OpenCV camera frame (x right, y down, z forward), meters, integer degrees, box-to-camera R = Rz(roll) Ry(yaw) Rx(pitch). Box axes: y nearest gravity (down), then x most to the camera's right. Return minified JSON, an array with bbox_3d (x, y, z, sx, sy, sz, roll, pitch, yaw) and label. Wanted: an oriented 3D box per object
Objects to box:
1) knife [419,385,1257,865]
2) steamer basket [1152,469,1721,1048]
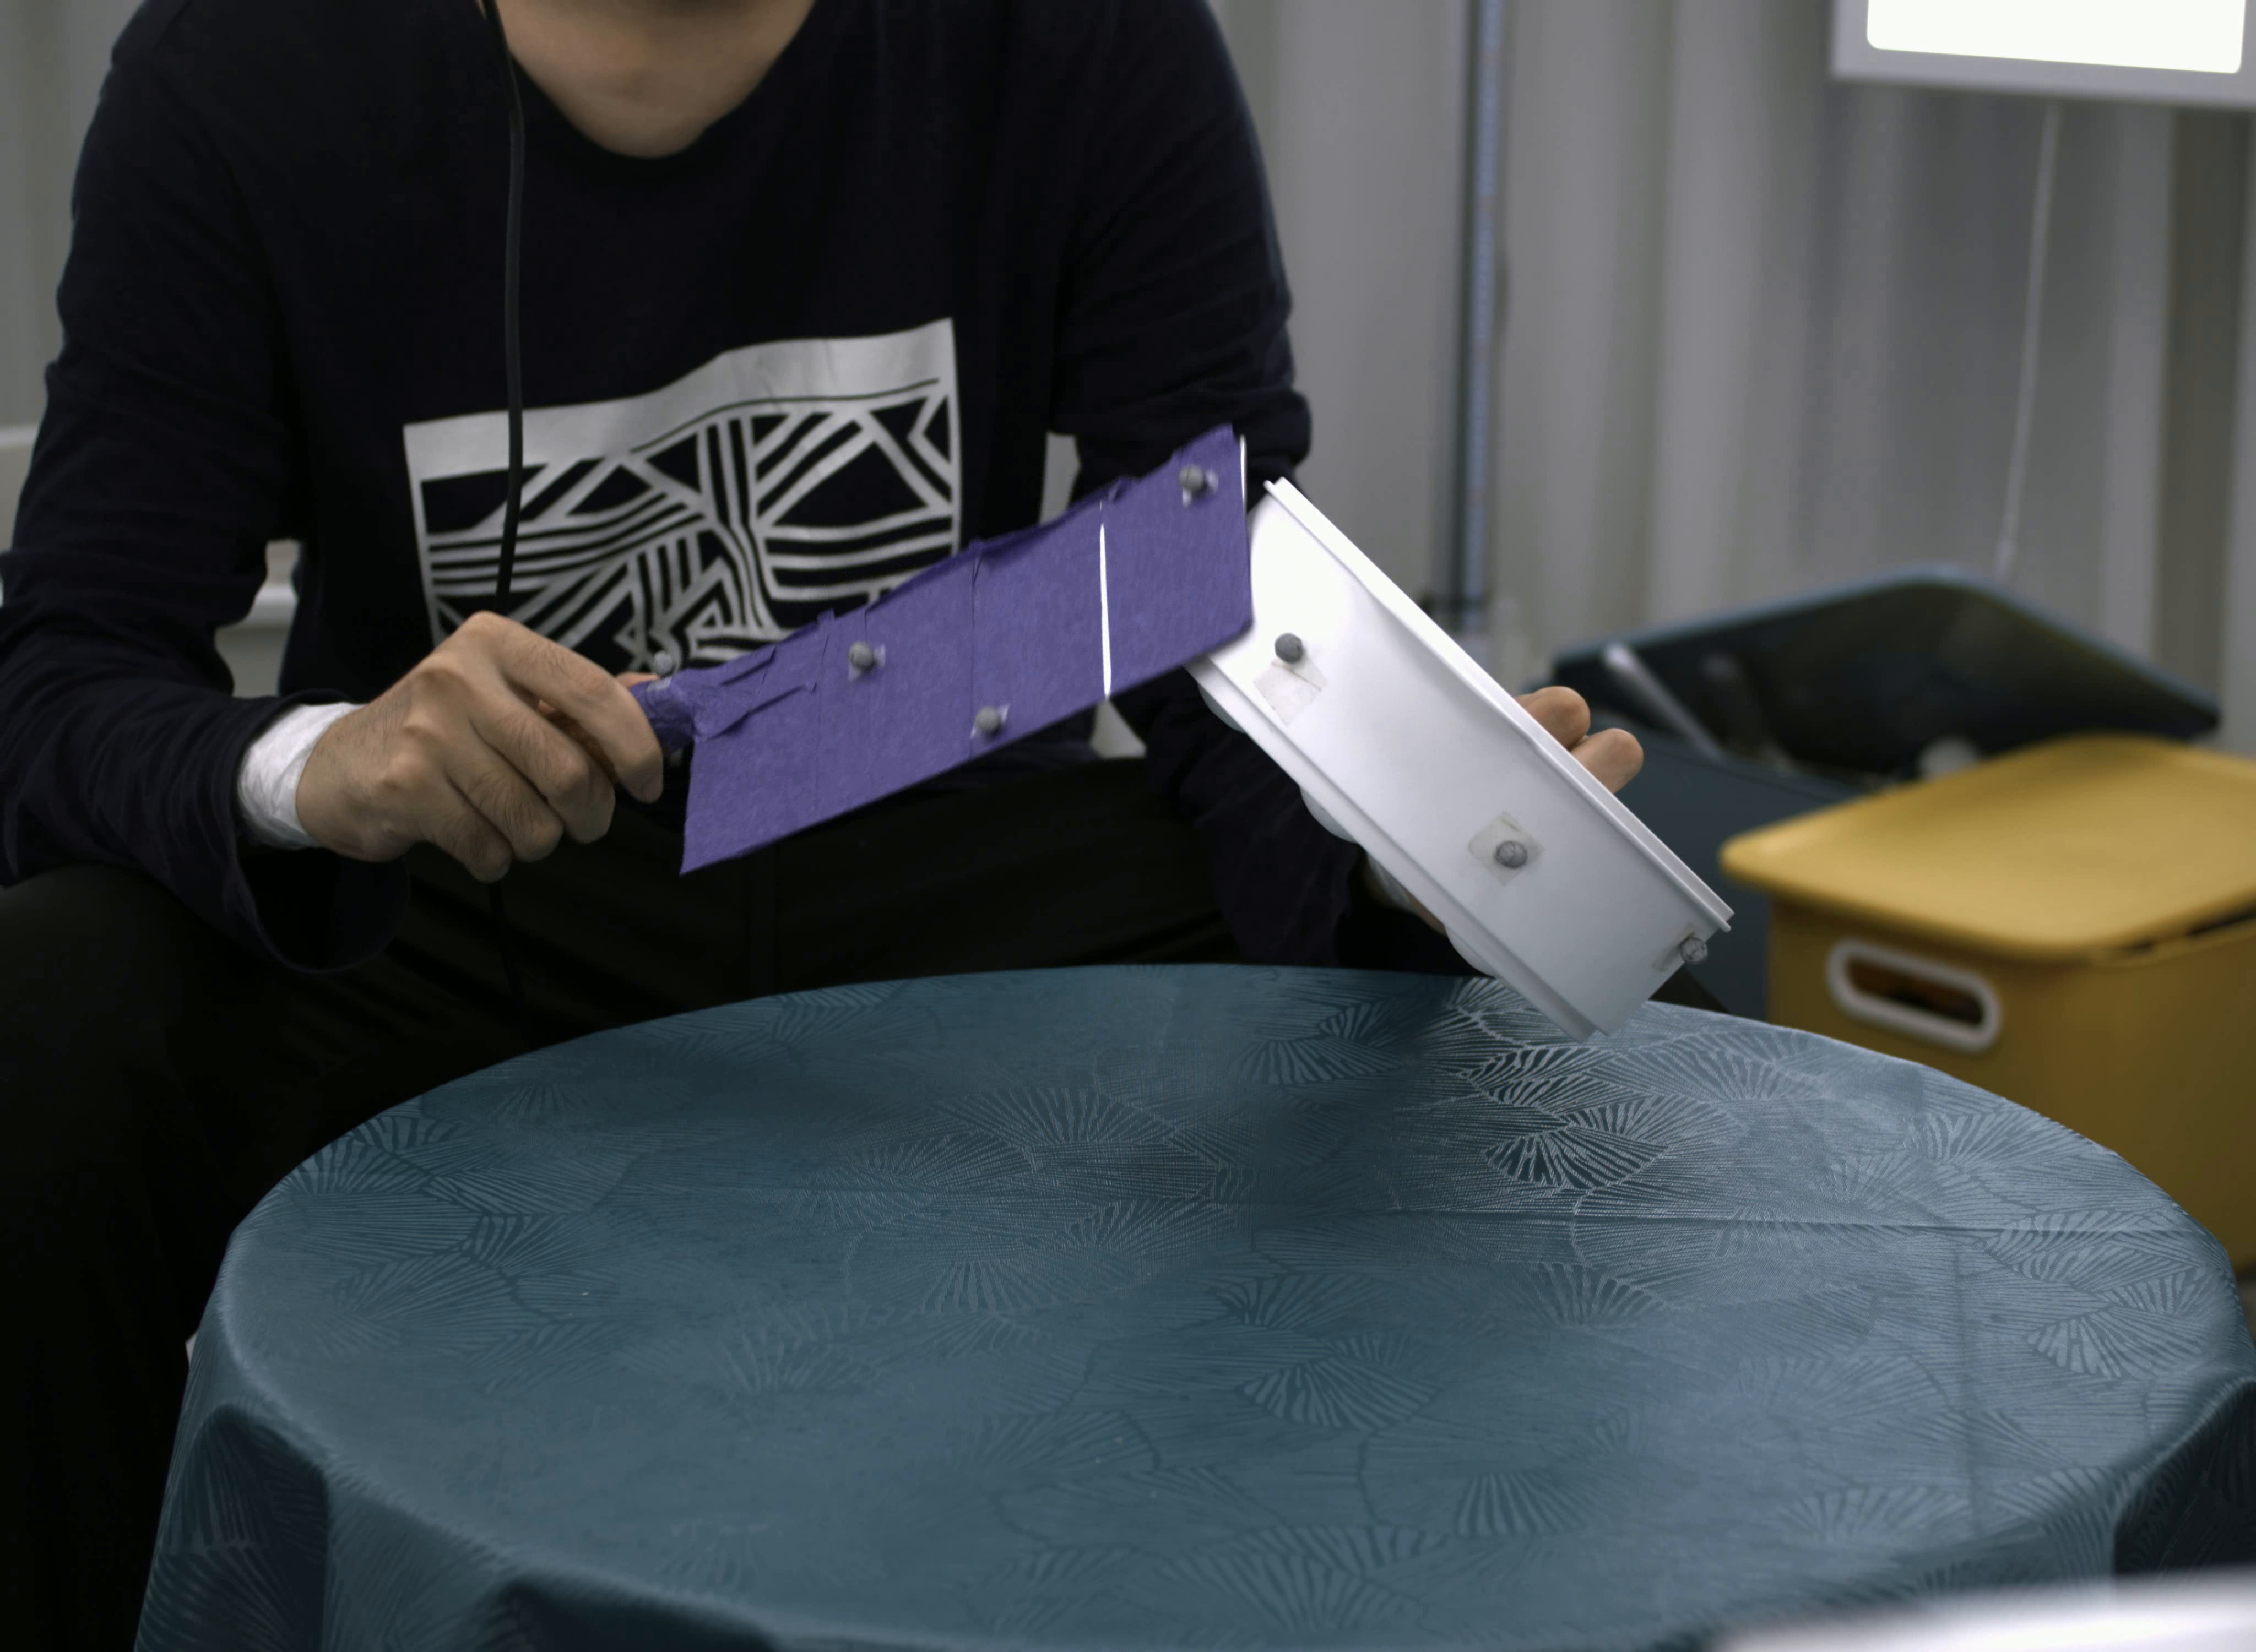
[{"bbox_3d":[-0.096,-0.042,1.654,0.314,0.032,0.103,-26,40,23],"label":"knife"},{"bbox_3d":[0.092,-0.017,1.633,0.200,0.069,0.232,46,1,14],"label":"steamer basket"}]
